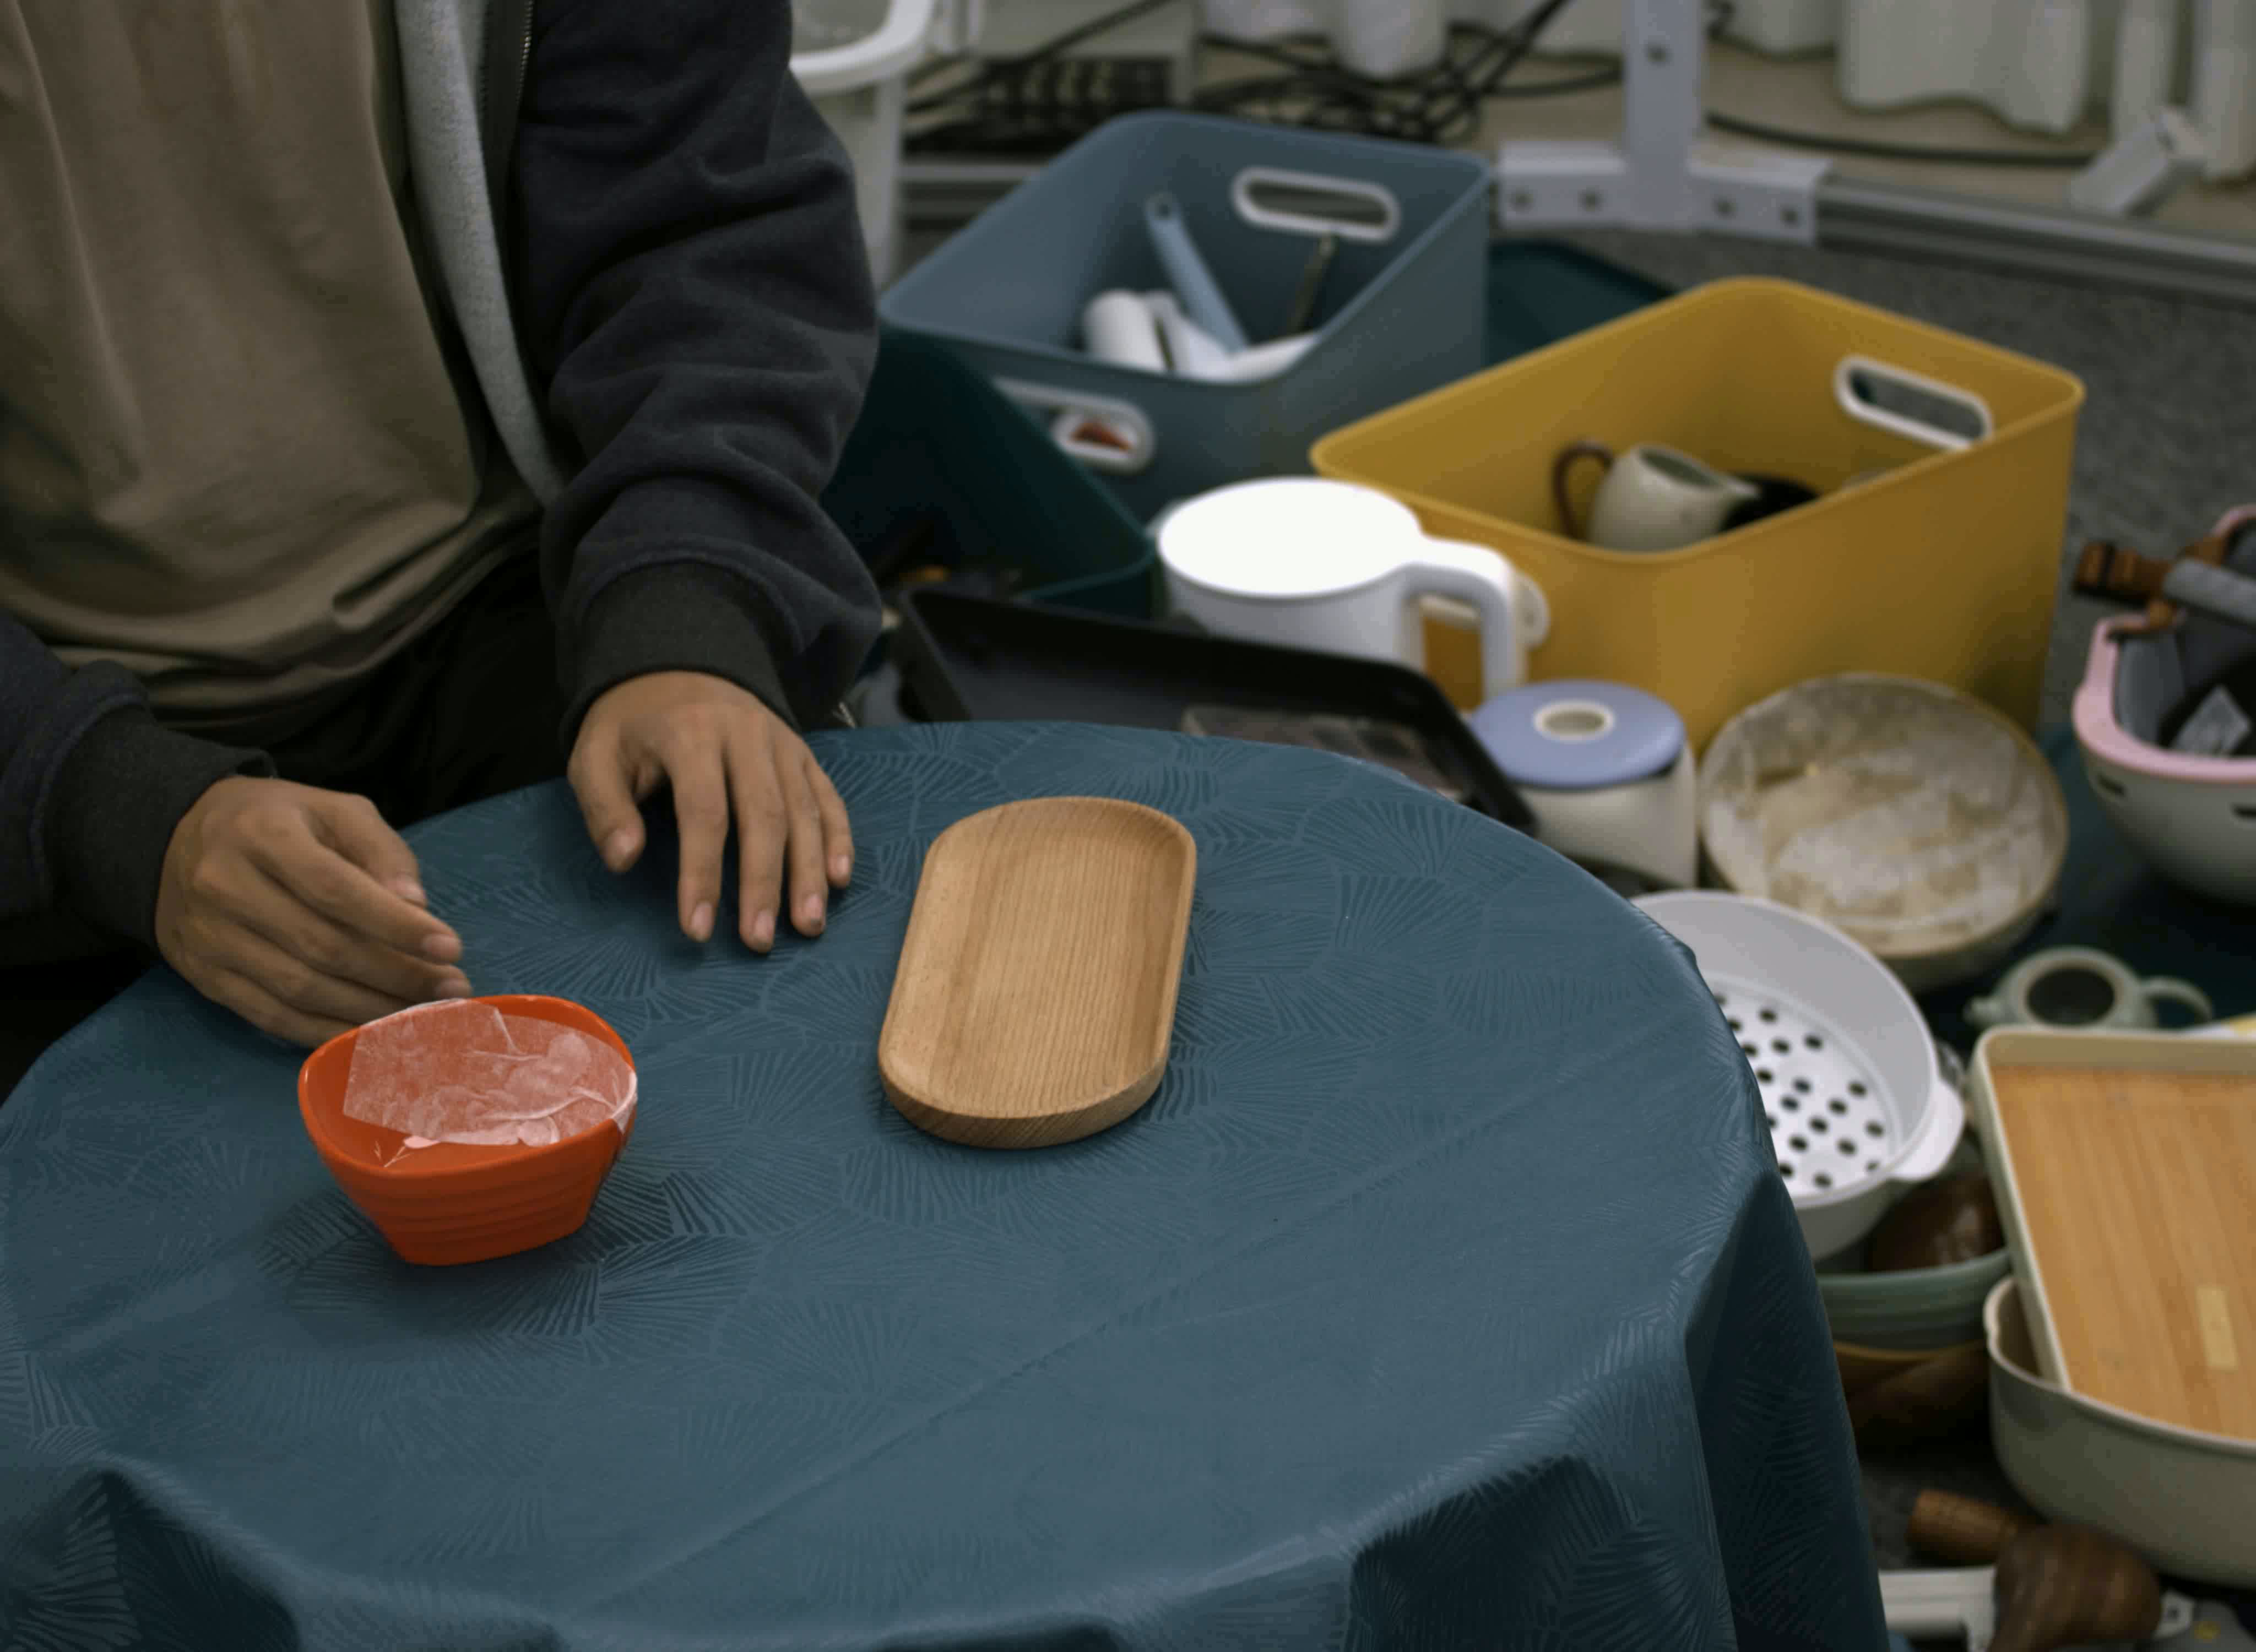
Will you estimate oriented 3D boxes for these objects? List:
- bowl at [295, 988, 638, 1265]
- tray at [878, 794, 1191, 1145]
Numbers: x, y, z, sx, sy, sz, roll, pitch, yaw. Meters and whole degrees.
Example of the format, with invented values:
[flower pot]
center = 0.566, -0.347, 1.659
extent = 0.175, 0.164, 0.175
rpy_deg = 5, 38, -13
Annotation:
[bowl]
center = -0.217, 0.104, 1.859
extent = 0.118, 0.051, 0.121
rpy_deg = -3, 28, 2
[tray]
center = -0.031, 0.048, 1.989
extent = 0.101, 0.020, 0.235
rpy_deg = 0, 27, 4
